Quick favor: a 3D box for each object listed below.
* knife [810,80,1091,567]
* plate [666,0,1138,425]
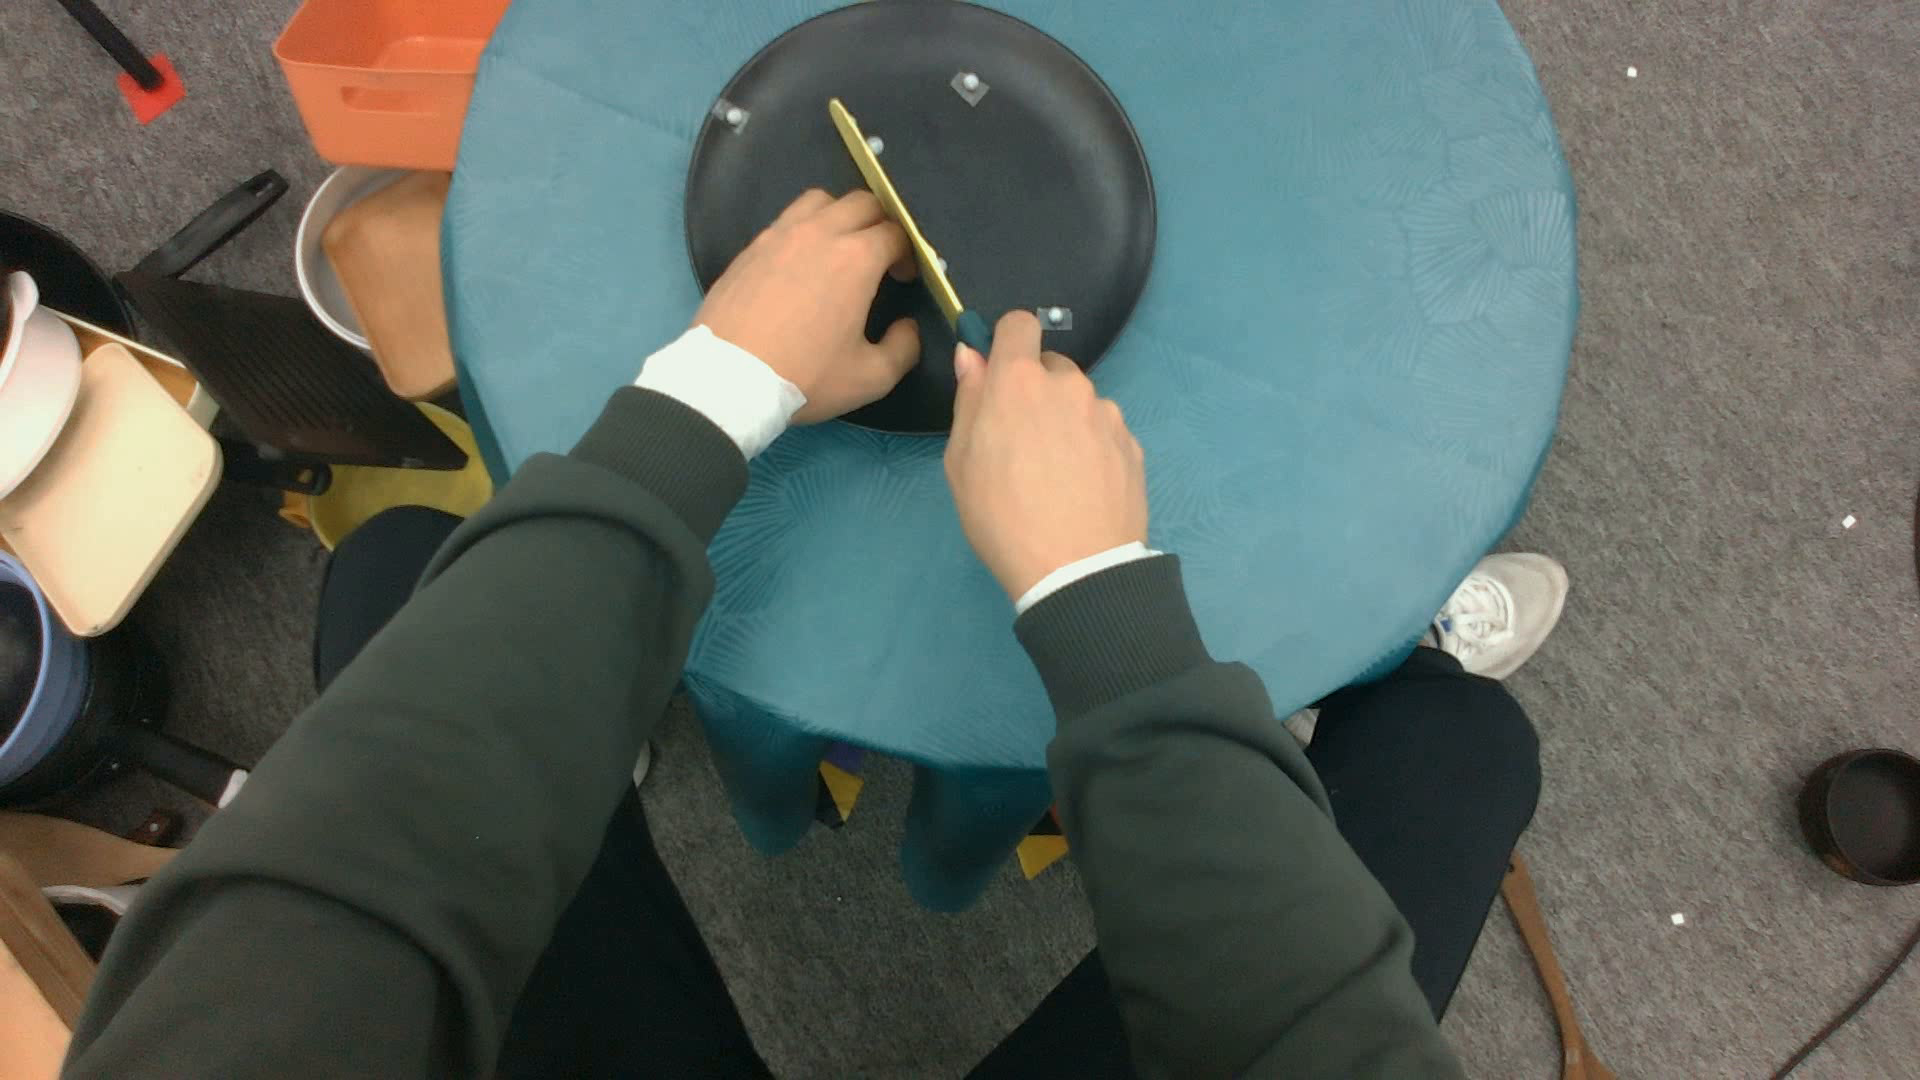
[{"bbox_3d":[-0.012,-0.110,0.661,0.027,0.081,0.290,-28,73,1],"label":"knife"},{"bbox_3d":[-0.029,-0.174,0.718,0.244,0.023,0.245,1,76,-4],"label":"plate"}]
